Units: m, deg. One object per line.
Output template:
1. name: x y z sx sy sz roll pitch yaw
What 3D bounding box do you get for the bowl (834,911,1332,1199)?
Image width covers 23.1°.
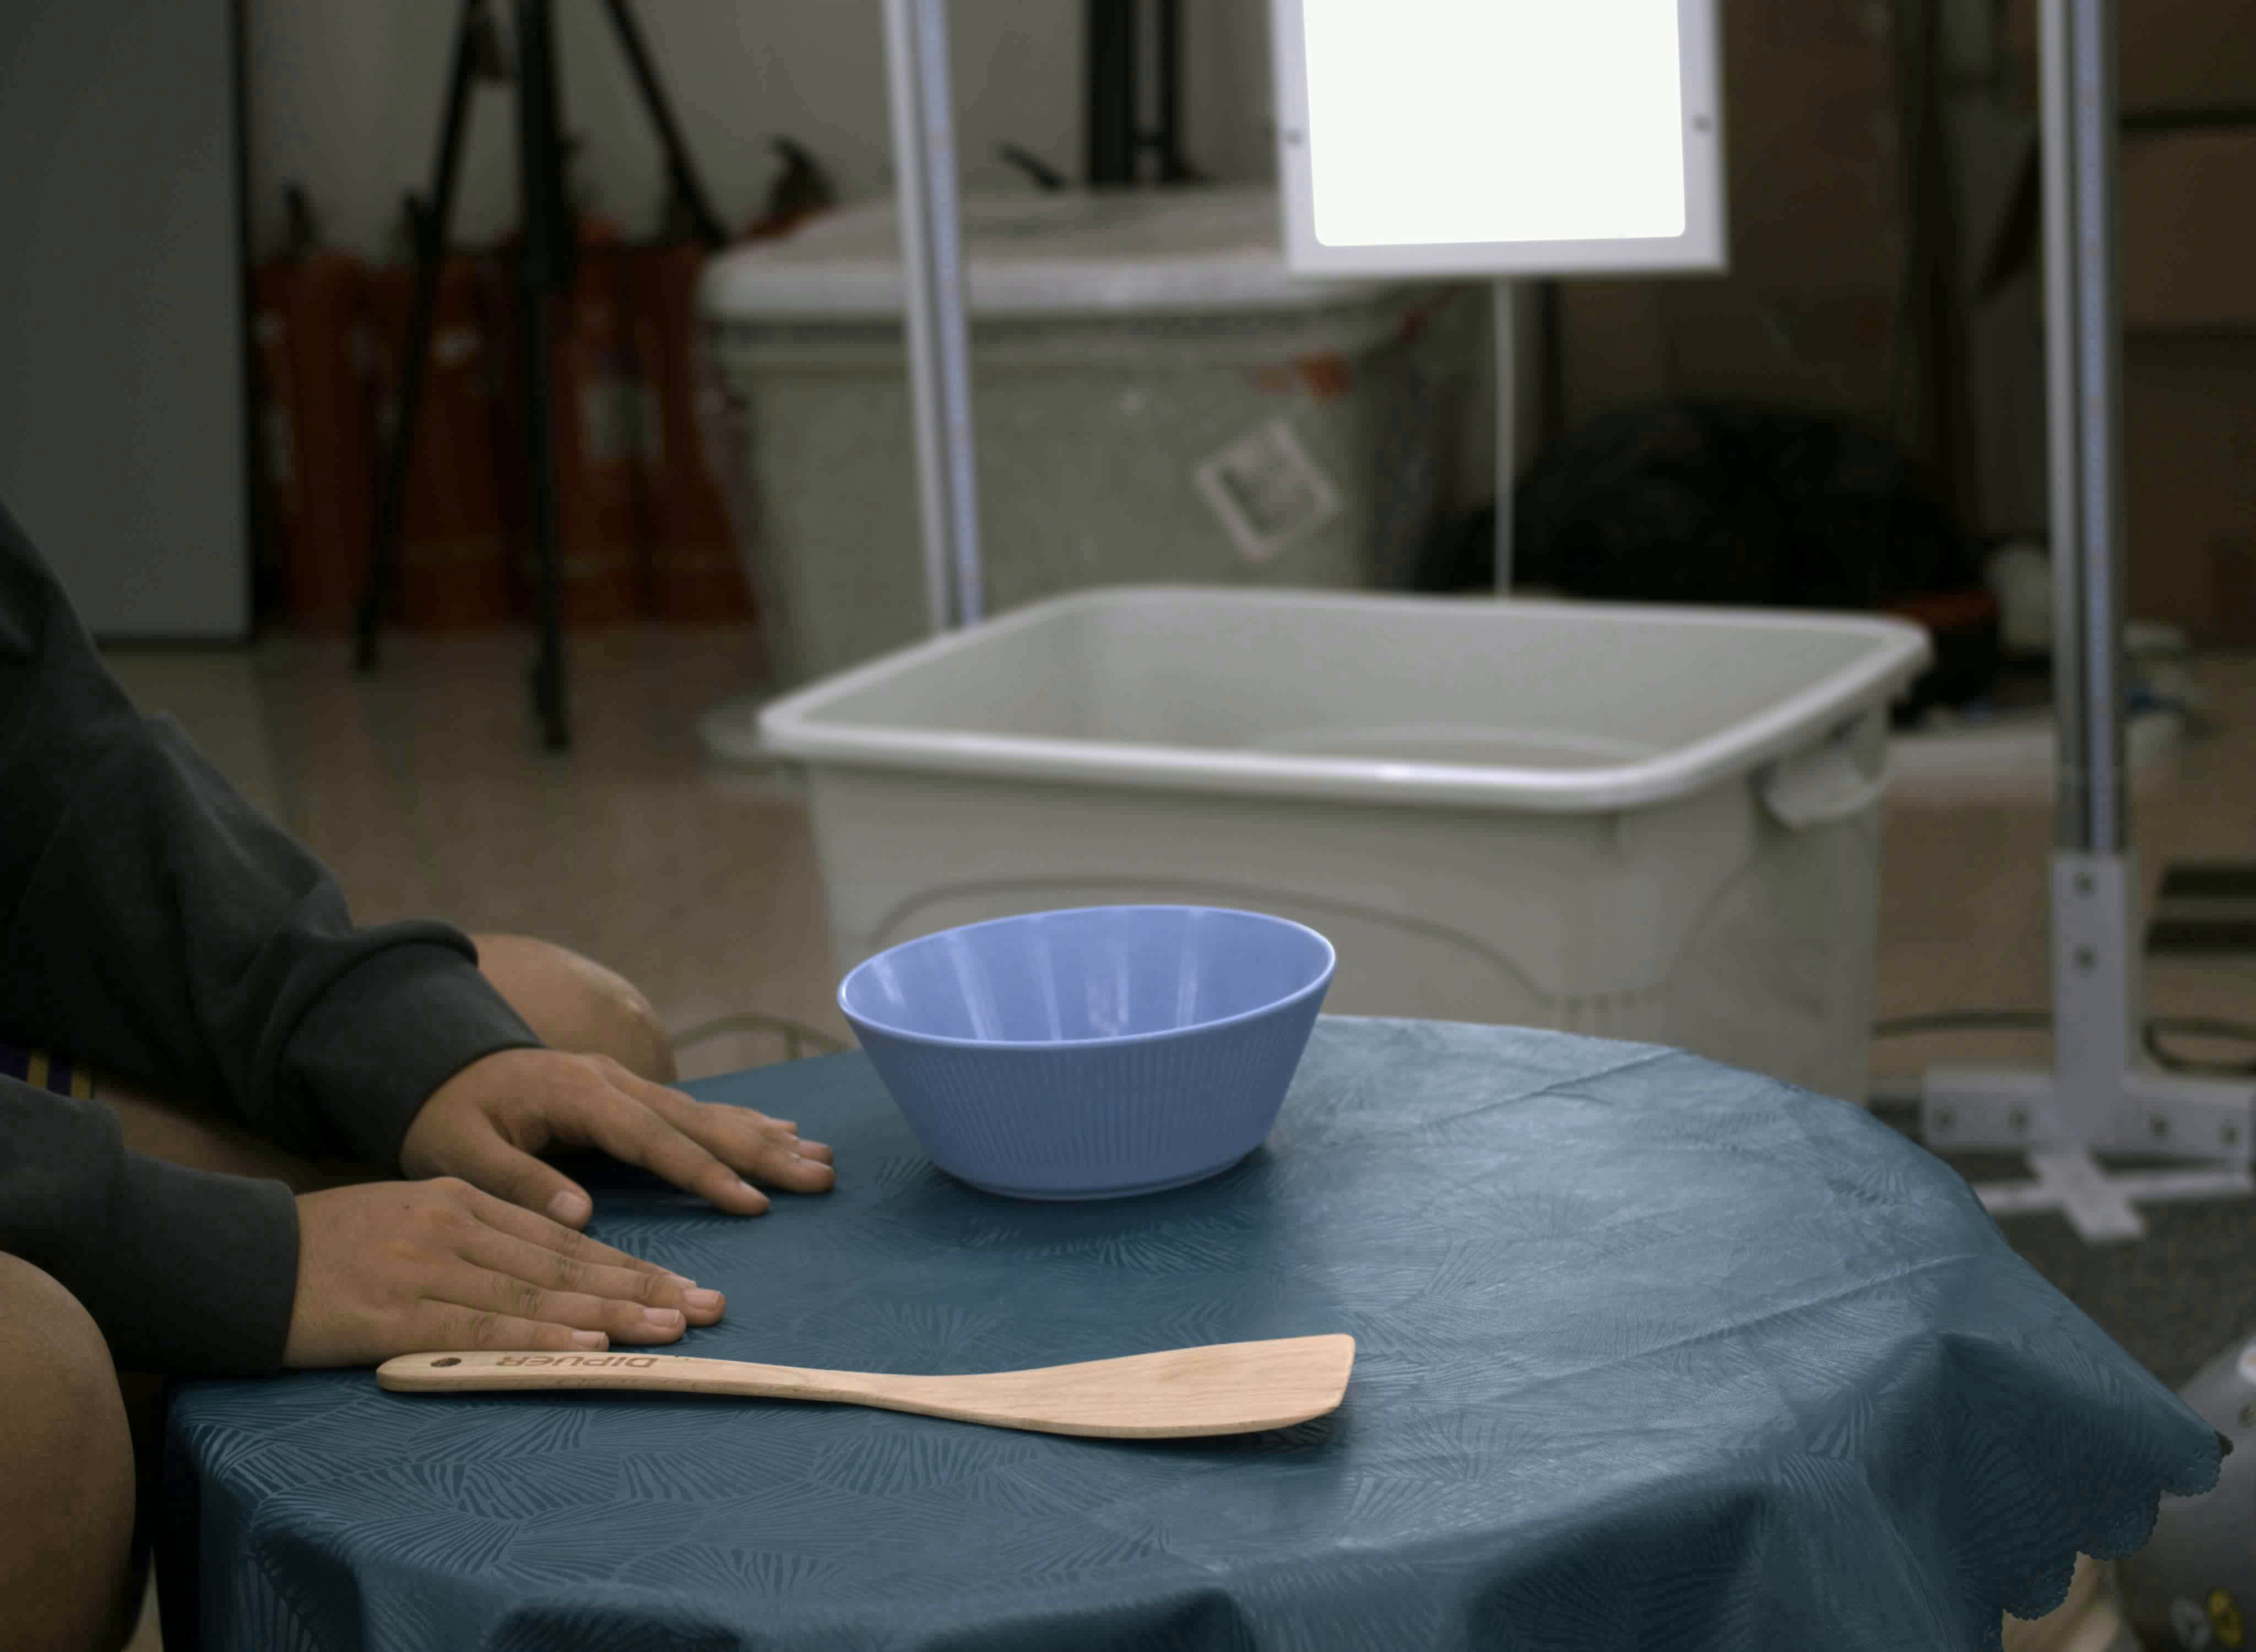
1. bowl: -0.014 0.082 1.935 0.175 0.070 0.176 -5 14 0

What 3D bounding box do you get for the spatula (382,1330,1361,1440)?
1. spatula: -0.082 0.170 1.714 0.332 0.016 0.078 0 15 20
